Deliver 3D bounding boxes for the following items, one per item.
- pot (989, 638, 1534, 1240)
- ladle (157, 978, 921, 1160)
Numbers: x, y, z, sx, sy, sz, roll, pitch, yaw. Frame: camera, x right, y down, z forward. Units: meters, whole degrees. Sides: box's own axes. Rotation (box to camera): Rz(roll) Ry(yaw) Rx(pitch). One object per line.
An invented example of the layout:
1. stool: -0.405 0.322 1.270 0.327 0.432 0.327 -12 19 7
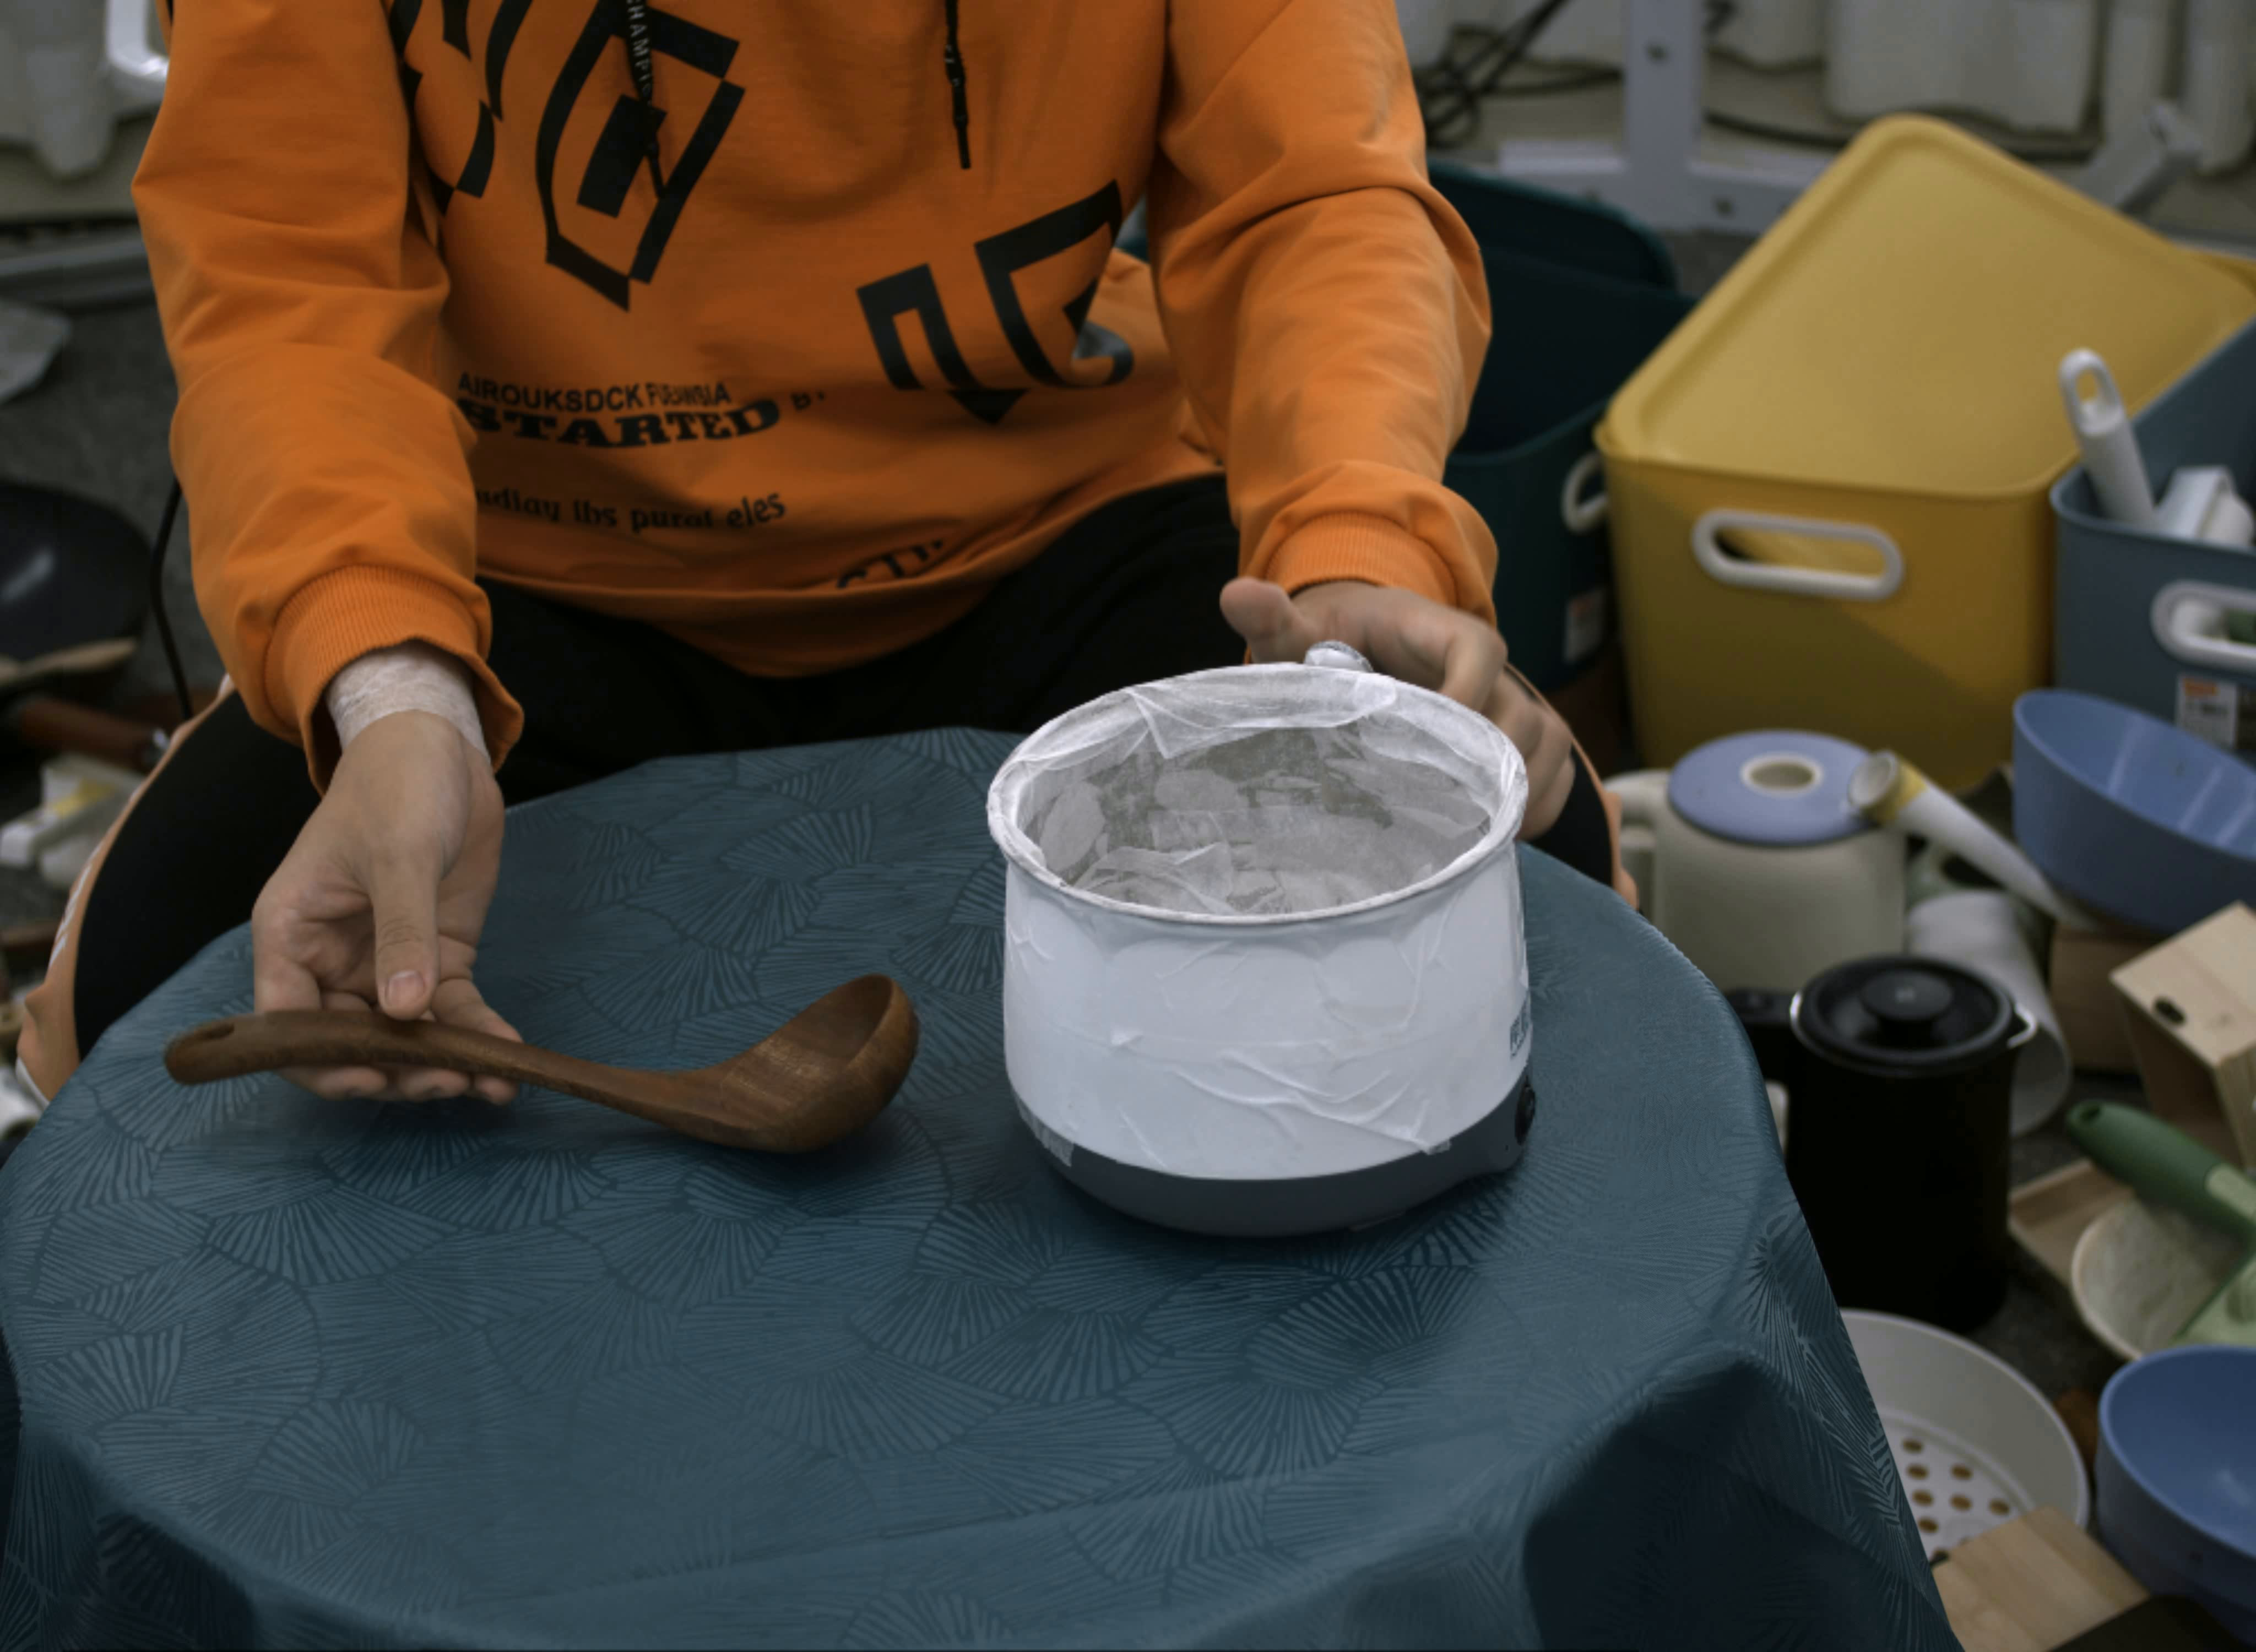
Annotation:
1. pot: 0.052 0.030 1.885 0.177 0.135 0.238 5 28 13
2. ladle: -0.199 0.071 1.893 0.259 0.064 0.077 7 24 3
